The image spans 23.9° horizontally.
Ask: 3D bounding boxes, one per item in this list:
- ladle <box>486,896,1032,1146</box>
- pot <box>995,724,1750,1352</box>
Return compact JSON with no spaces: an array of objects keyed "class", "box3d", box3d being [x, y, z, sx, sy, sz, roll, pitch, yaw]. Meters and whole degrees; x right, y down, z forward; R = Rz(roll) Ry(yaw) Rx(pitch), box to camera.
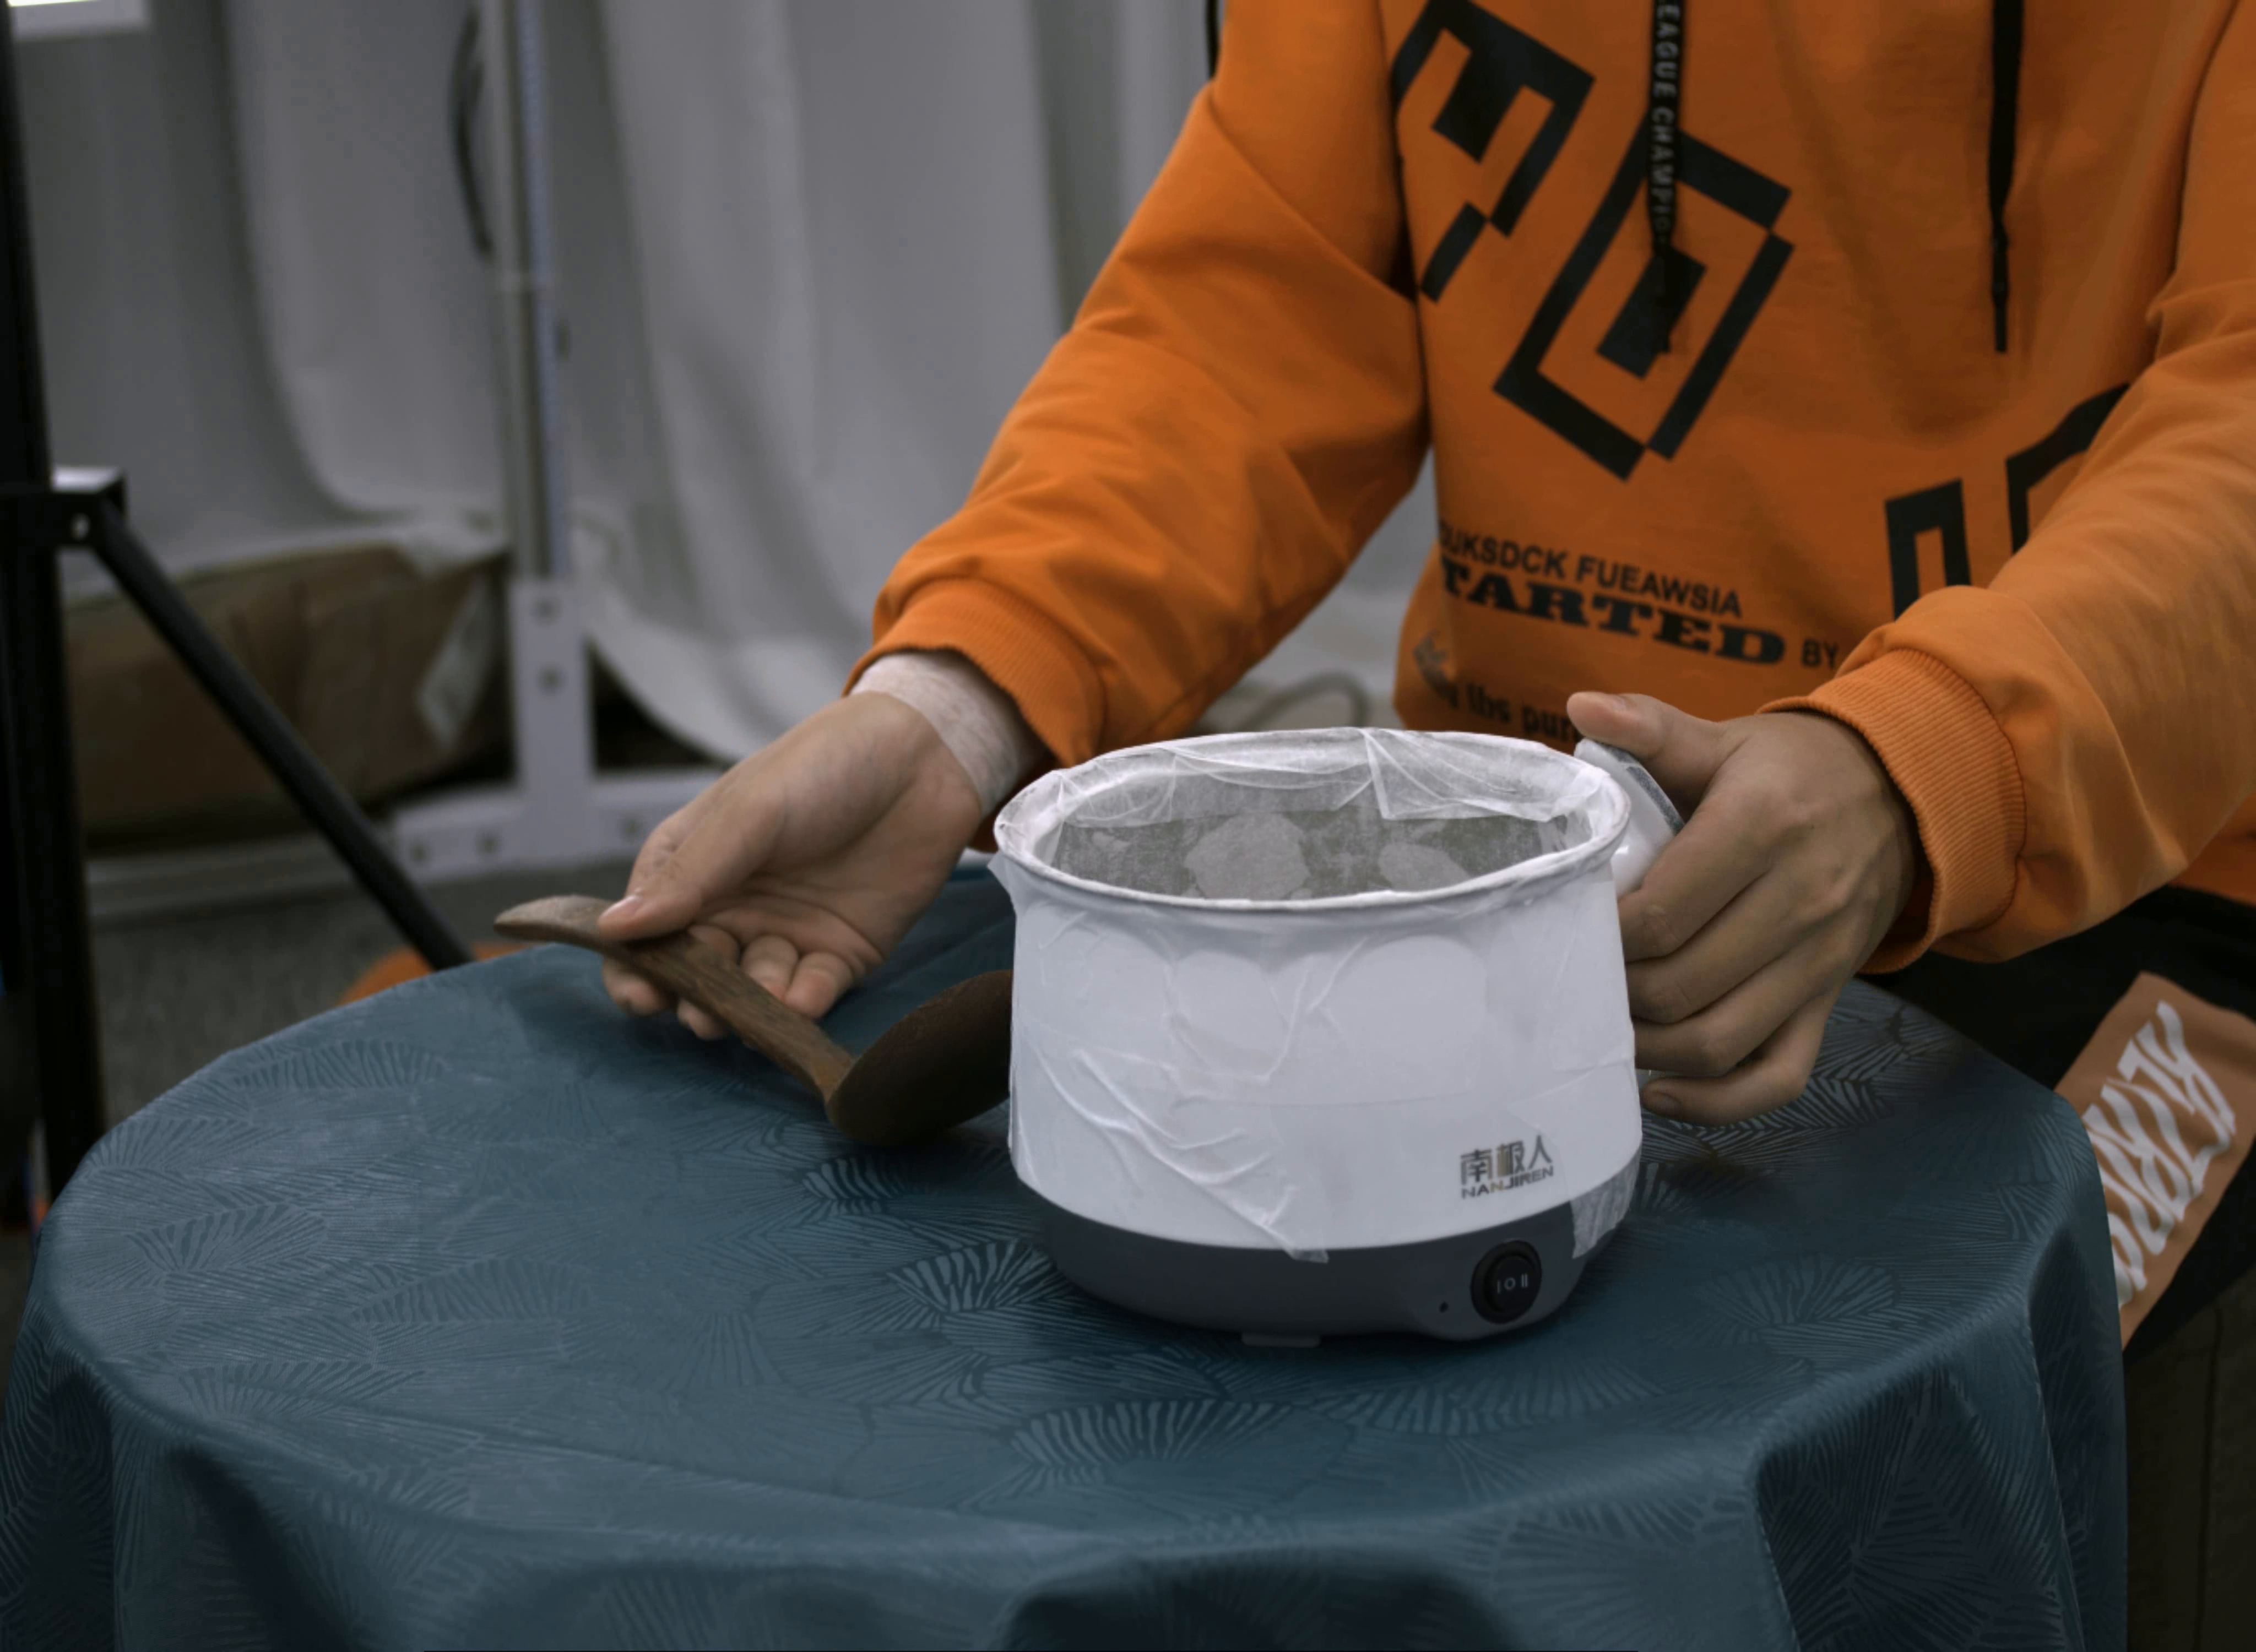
[{"class":"ladle","box3d":[-0.124,0.039,1.673,0.074,0.071,0.280,-17,26,-33]},{"class":"pot","box3d":[0.076,0.052,1.491,0.228,0.136,0.183,-12,19,-31]}]
